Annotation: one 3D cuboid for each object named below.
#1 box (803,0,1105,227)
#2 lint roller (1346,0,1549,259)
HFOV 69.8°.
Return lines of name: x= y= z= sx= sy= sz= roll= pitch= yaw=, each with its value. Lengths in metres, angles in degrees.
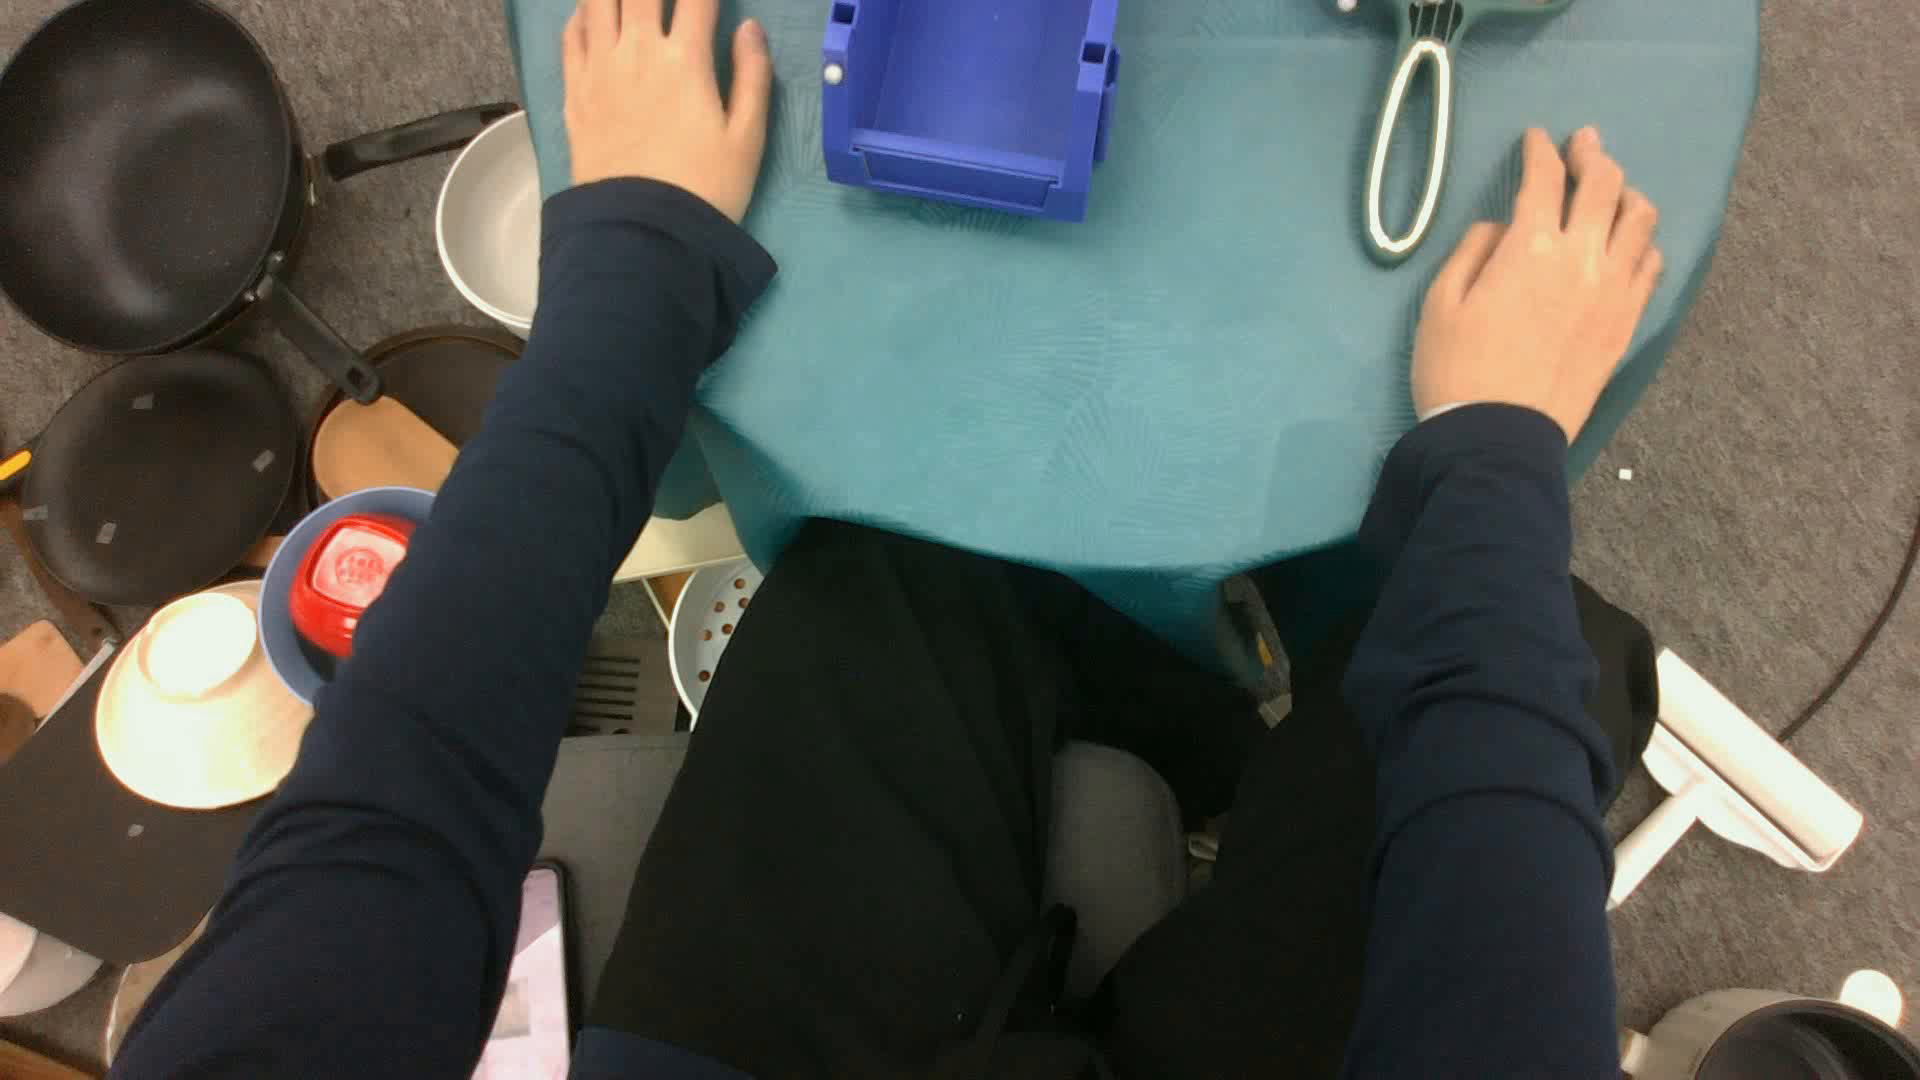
box: x=0.009 y=-0.243 z=0.622 sx=0.124 sy=0.081 sz=0.180 roll=12 pitch=77 yaw=3
lint roller: x=0.208 y=-0.222 z=0.634 sx=0.134 sy=0.048 sz=0.180 roll=10 pitch=82 yaw=4
